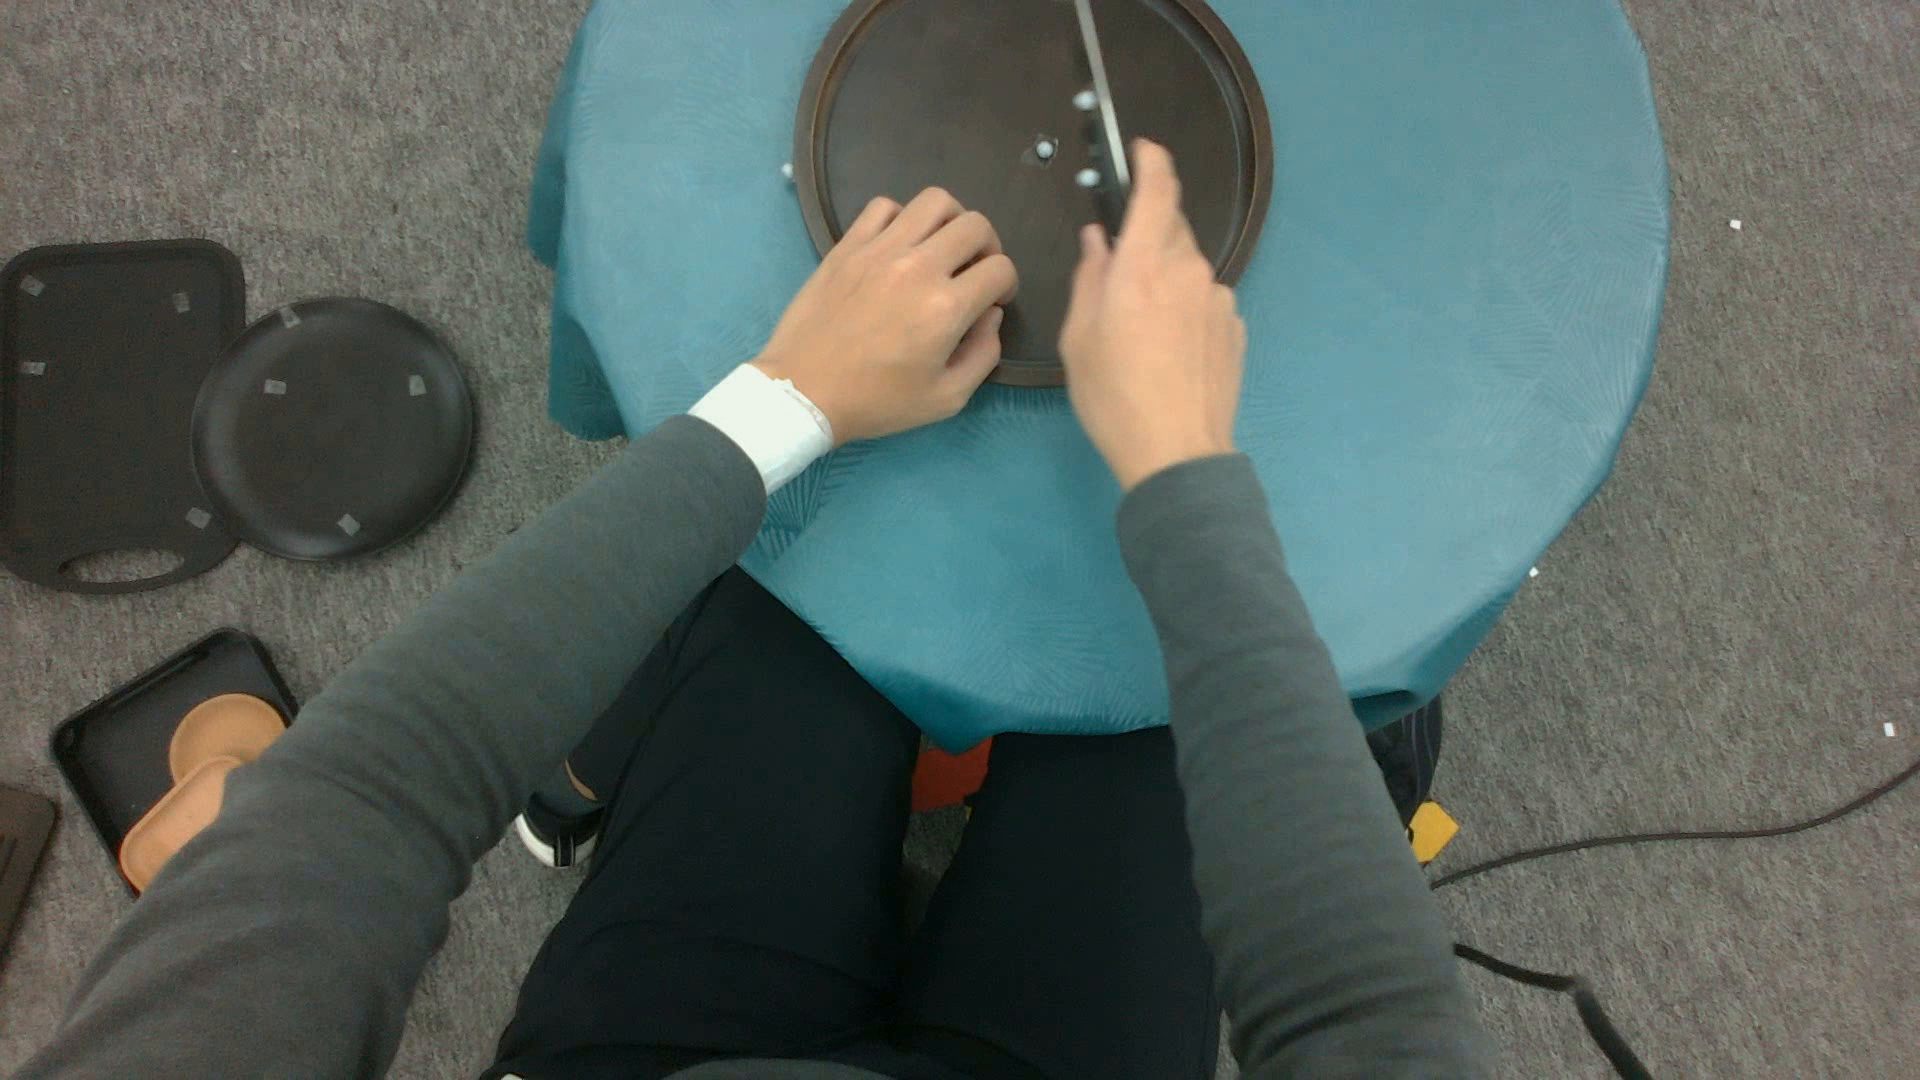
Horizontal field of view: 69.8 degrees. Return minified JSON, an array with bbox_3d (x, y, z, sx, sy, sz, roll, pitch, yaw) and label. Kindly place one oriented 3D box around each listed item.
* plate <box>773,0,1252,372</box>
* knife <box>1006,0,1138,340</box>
[{"bbox_3d":[0.029,-0.209,0.730,0.255,0.029,0.255,1,79,-4],"label":"plate"},{"bbox_3d":[0.040,-0.207,0.631,0.016,0.024,0.238,-20,94,-14],"label":"knife"}]
